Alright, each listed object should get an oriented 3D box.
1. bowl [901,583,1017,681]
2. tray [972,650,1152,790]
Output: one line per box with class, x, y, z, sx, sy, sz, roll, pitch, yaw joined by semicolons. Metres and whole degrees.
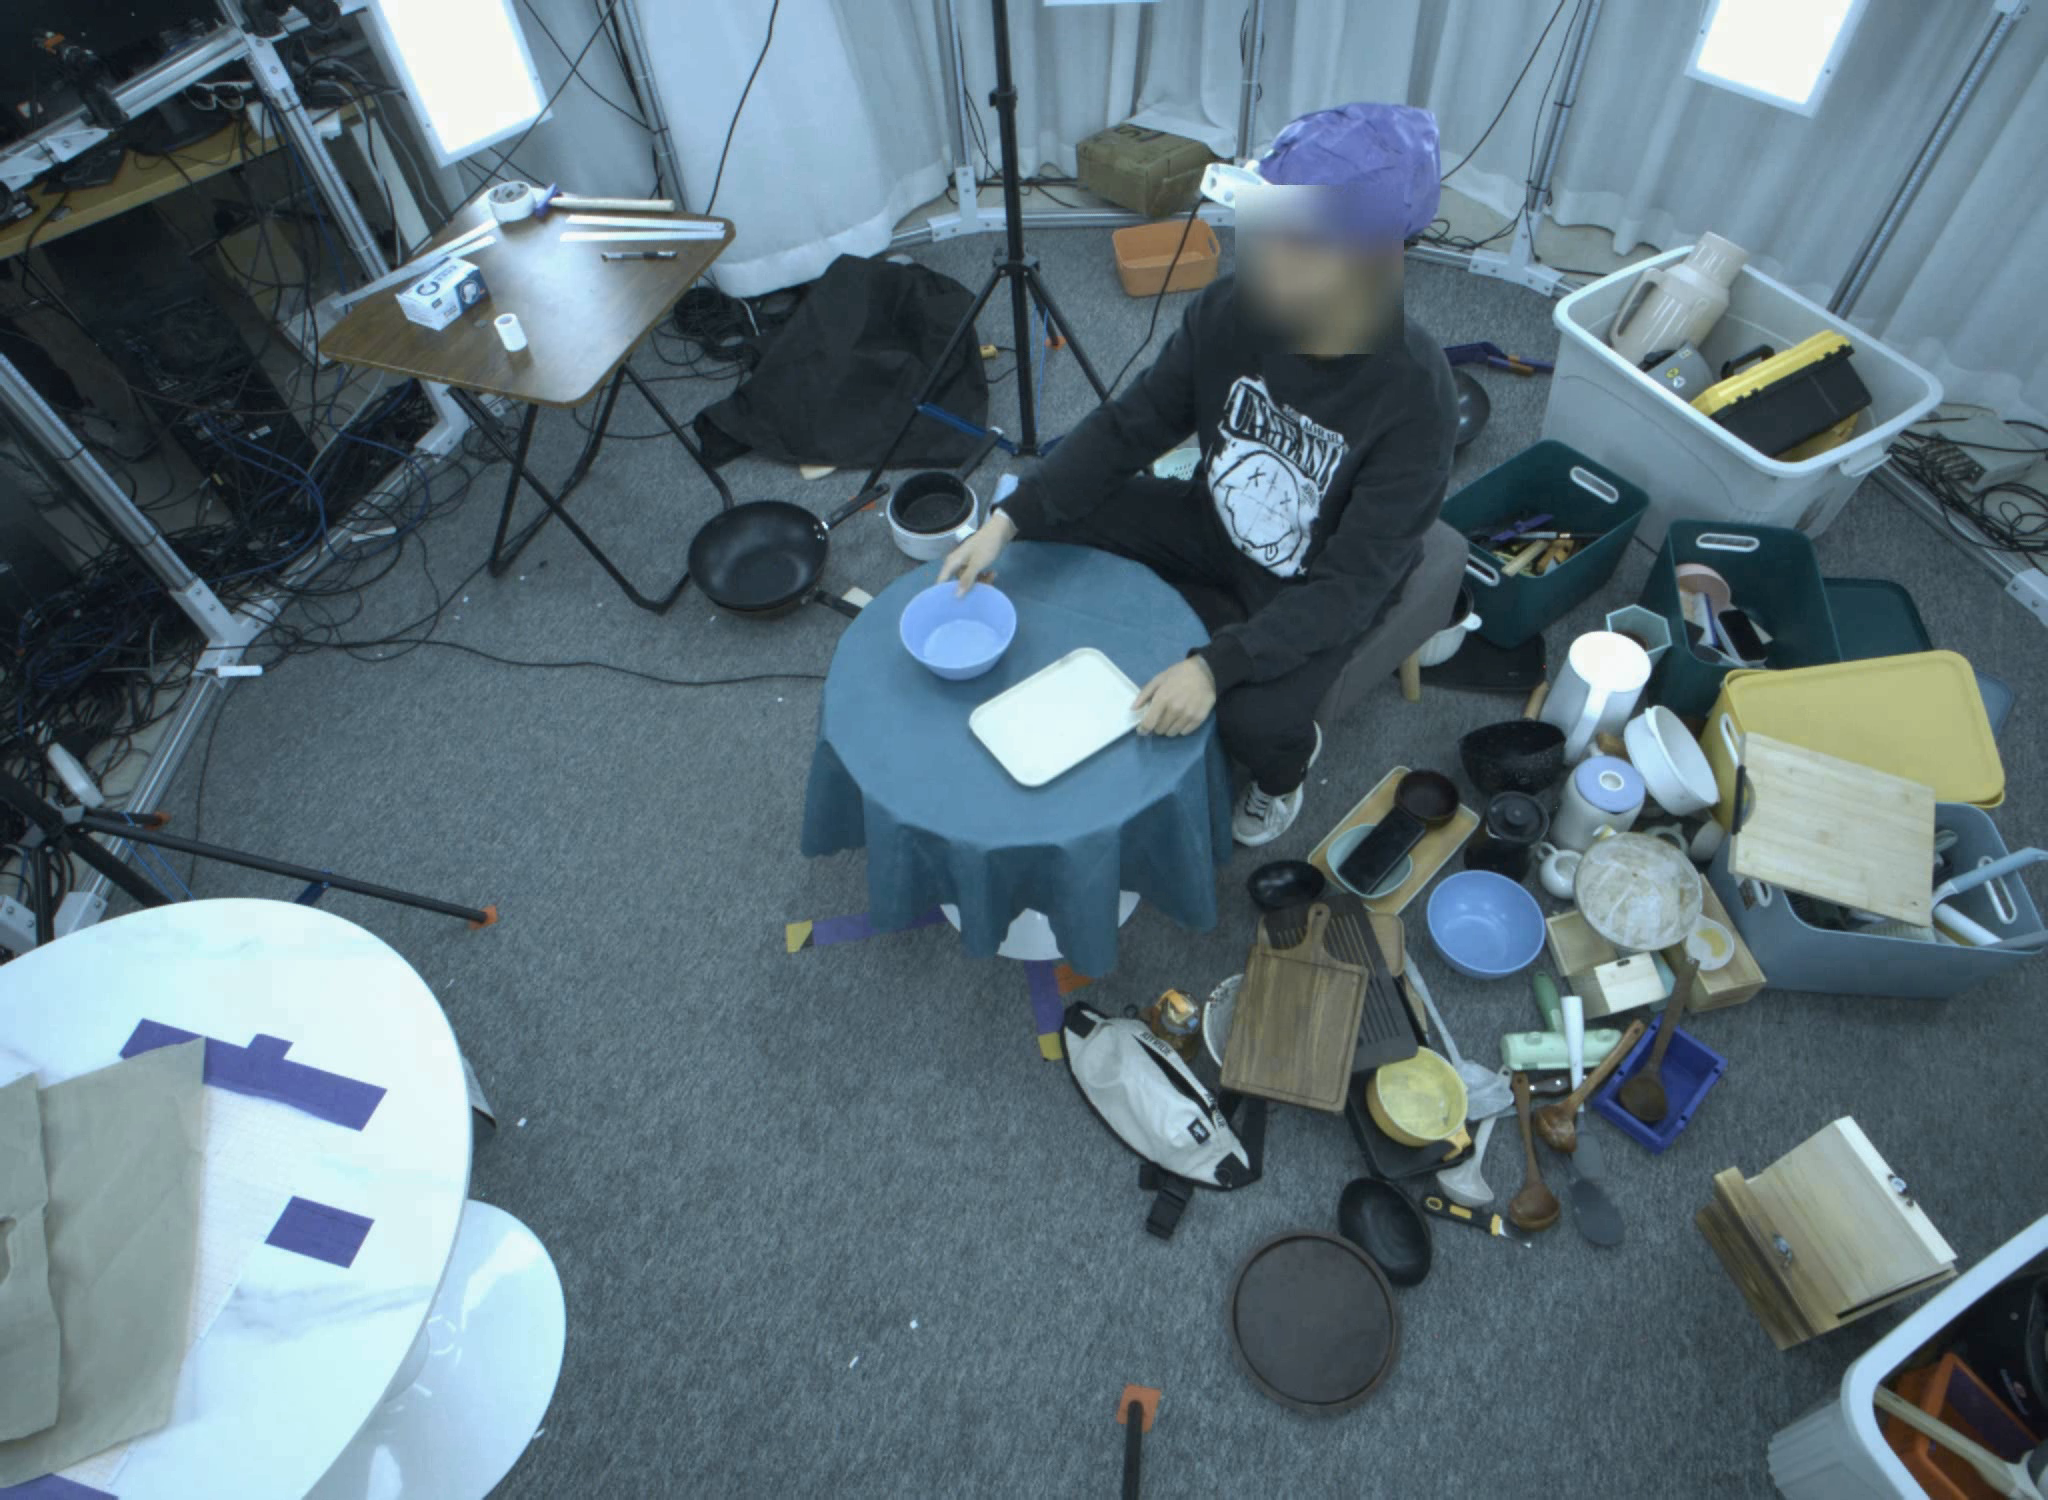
bowl;-0.098;-0.170;1.877;0.176;0.071;0.174;0;56;1
tray;0.056;-0.045;1.817;0.241;0.017;0.168;-32;60;-19
